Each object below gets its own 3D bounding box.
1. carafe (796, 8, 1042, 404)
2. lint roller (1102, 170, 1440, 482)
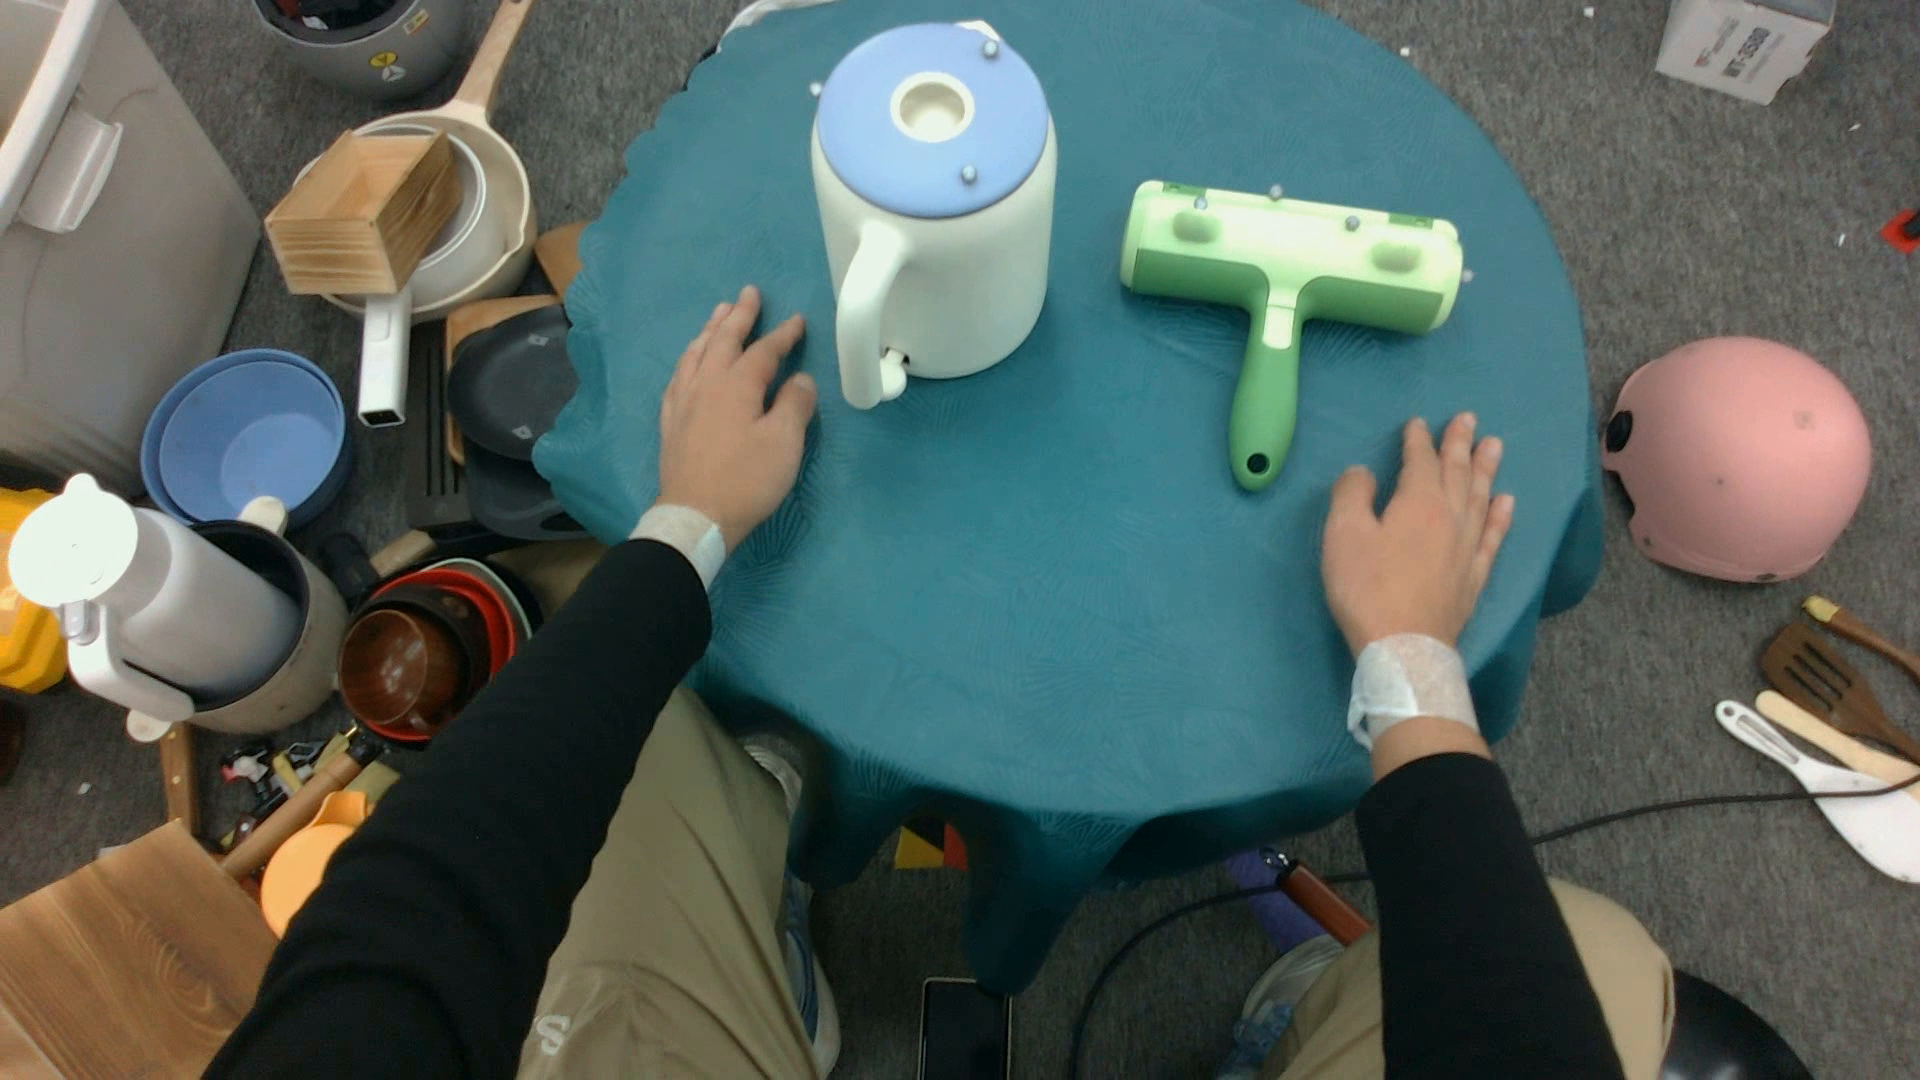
[{"bbox_3d":[-0.030,-0.170,0.769,0.132,0.182,0.191,19,72,8],"label":"carafe"},{"bbox_3d":[0.176,-0.129,0.806,0.198,0.082,0.184,10,67,4],"label":"lint roller"}]
